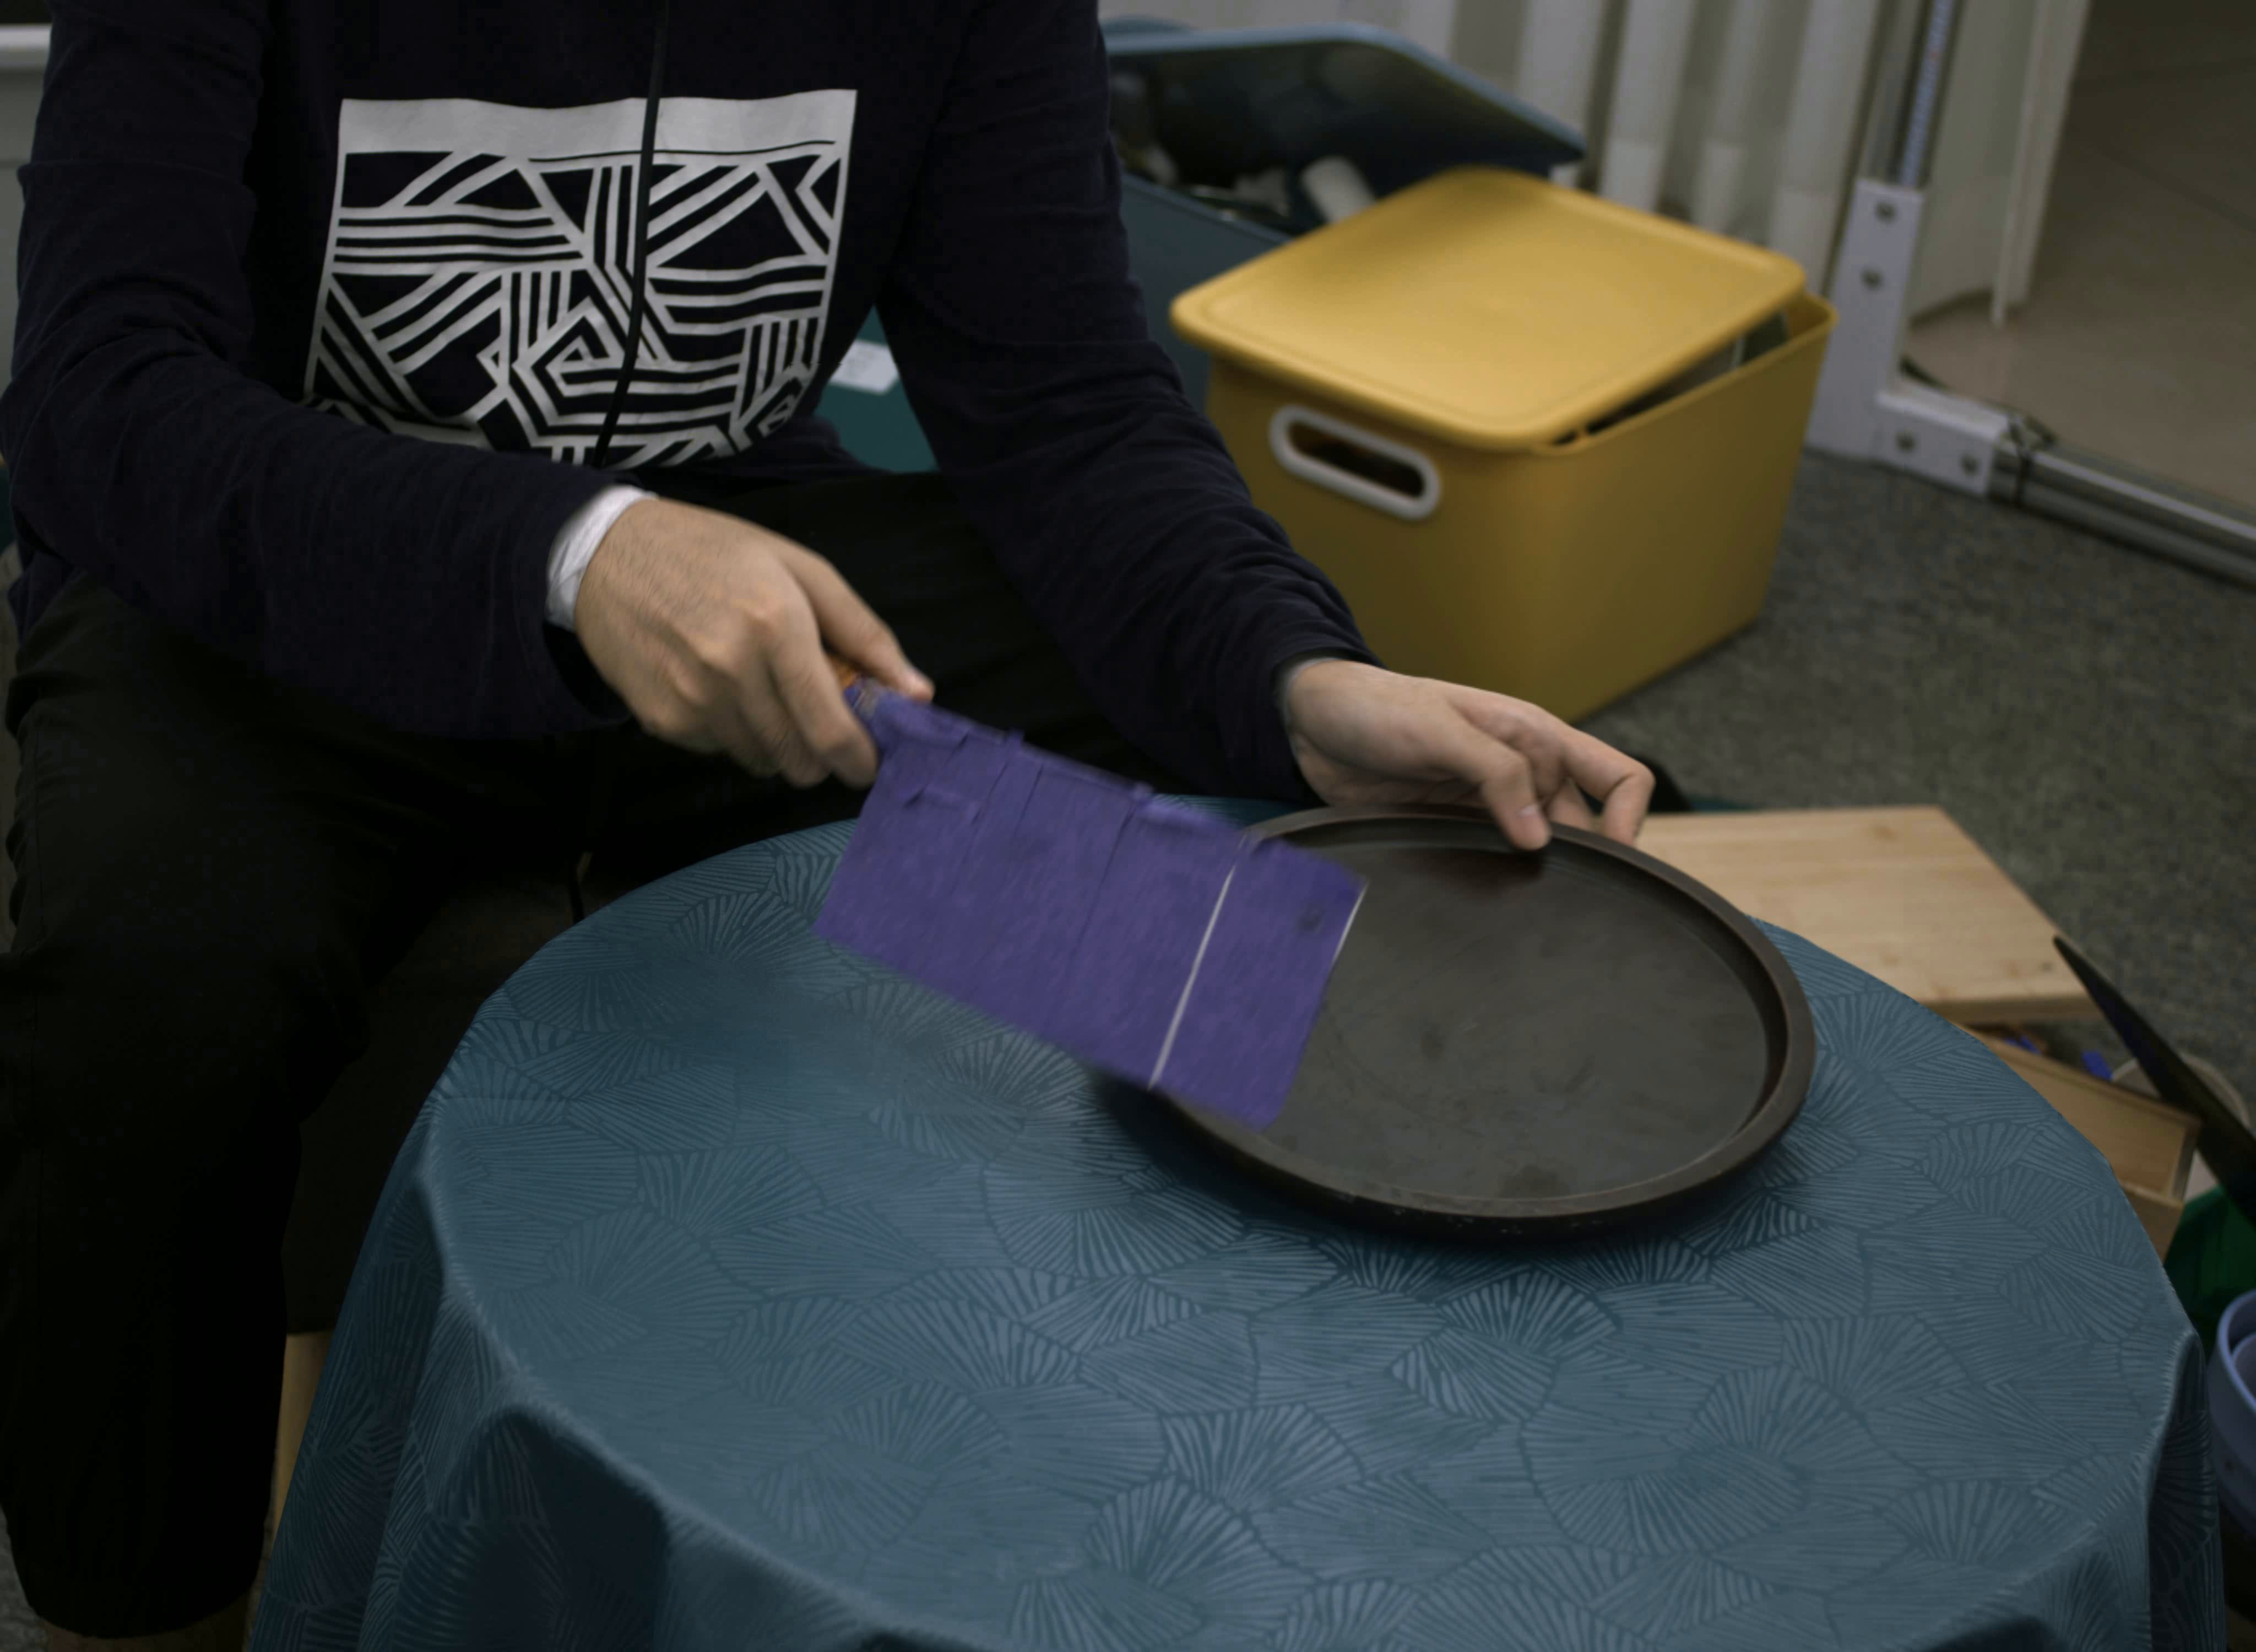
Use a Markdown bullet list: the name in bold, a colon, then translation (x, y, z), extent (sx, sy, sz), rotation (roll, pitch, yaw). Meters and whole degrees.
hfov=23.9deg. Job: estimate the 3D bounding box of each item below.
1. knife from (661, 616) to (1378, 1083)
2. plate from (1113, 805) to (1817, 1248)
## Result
- **knife**: translation (-0.054, 0.007, 1.834), extent (0.317, 0.104, 0.032), rotation (20, -3, 38)
- **plate**: translation (0.117, 0.069, 1.886), extent (0.254, 0.029, 0.256), rotation (3, 34, -3)
